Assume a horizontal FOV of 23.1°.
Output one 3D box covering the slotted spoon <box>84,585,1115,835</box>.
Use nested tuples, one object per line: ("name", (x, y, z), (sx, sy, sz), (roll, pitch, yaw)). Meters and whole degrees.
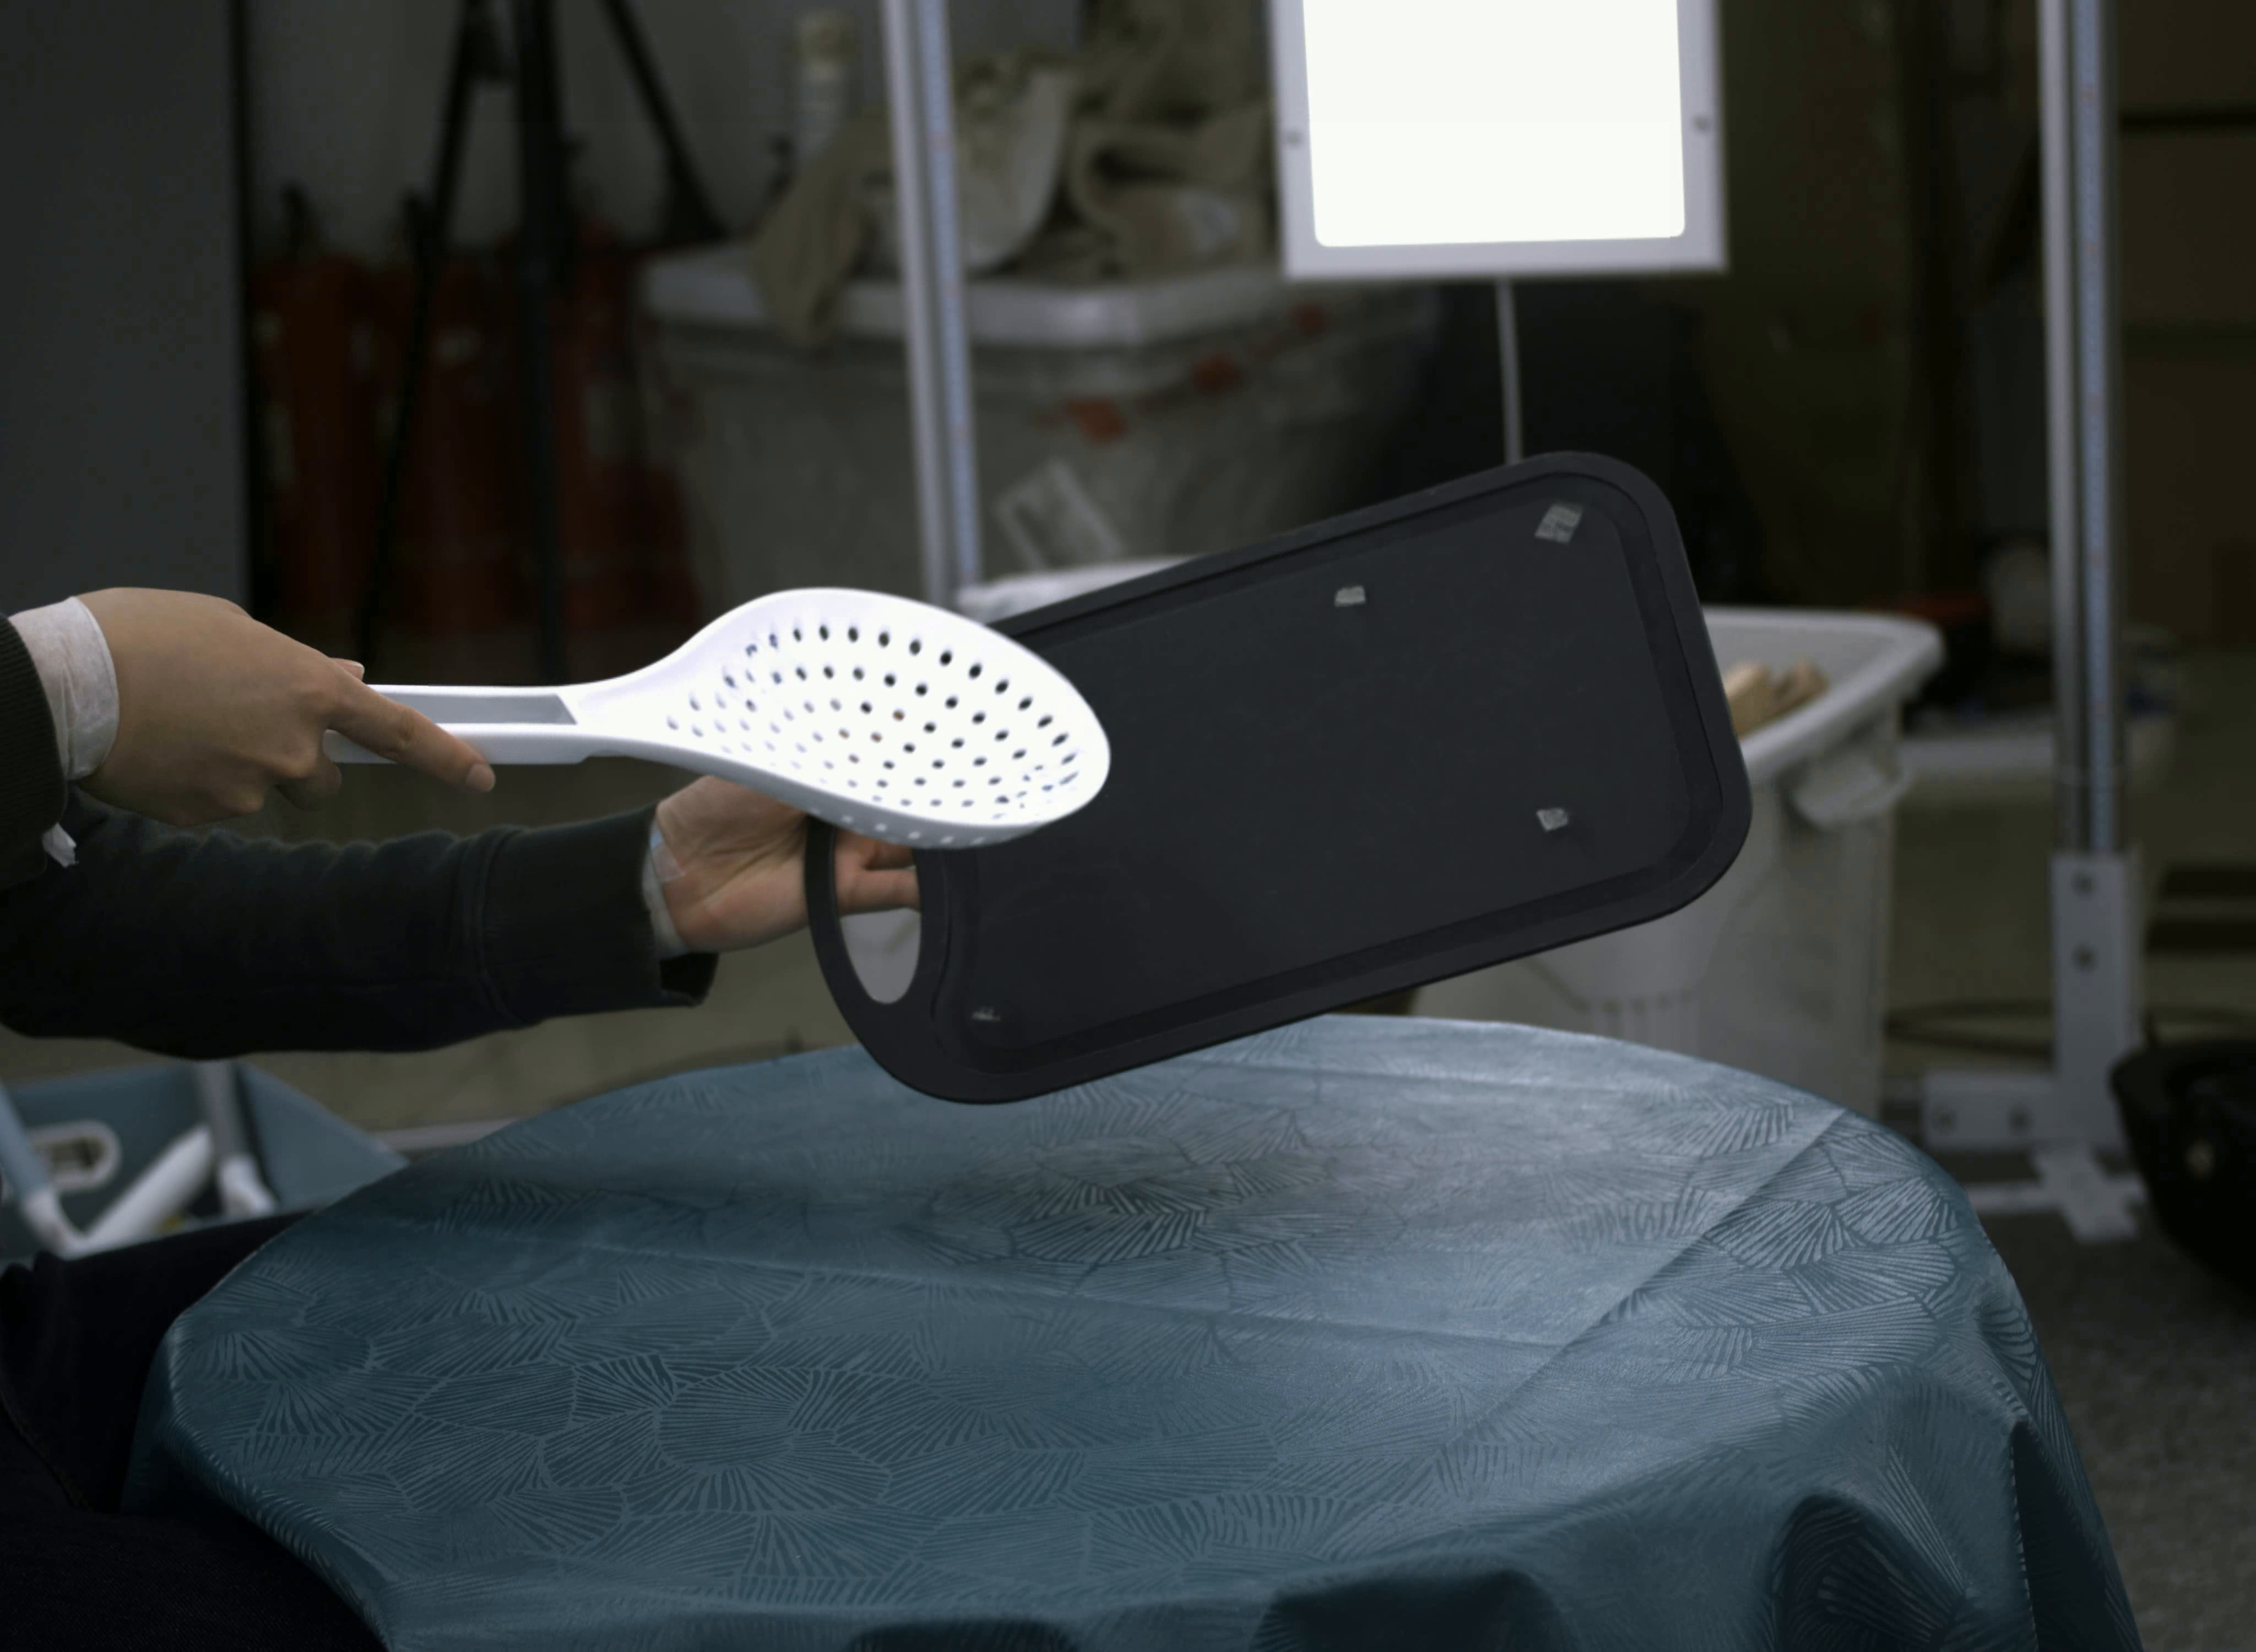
("slotted spoon", (-0.162, -0.035, 1.738), (0.341, 0.046, 0.137), (3, 32, -33))

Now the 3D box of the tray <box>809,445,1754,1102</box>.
("tray", (0.045, -0.018, 1.878), (0.327, 0.010, 0.211), (-17, 51, 10))
